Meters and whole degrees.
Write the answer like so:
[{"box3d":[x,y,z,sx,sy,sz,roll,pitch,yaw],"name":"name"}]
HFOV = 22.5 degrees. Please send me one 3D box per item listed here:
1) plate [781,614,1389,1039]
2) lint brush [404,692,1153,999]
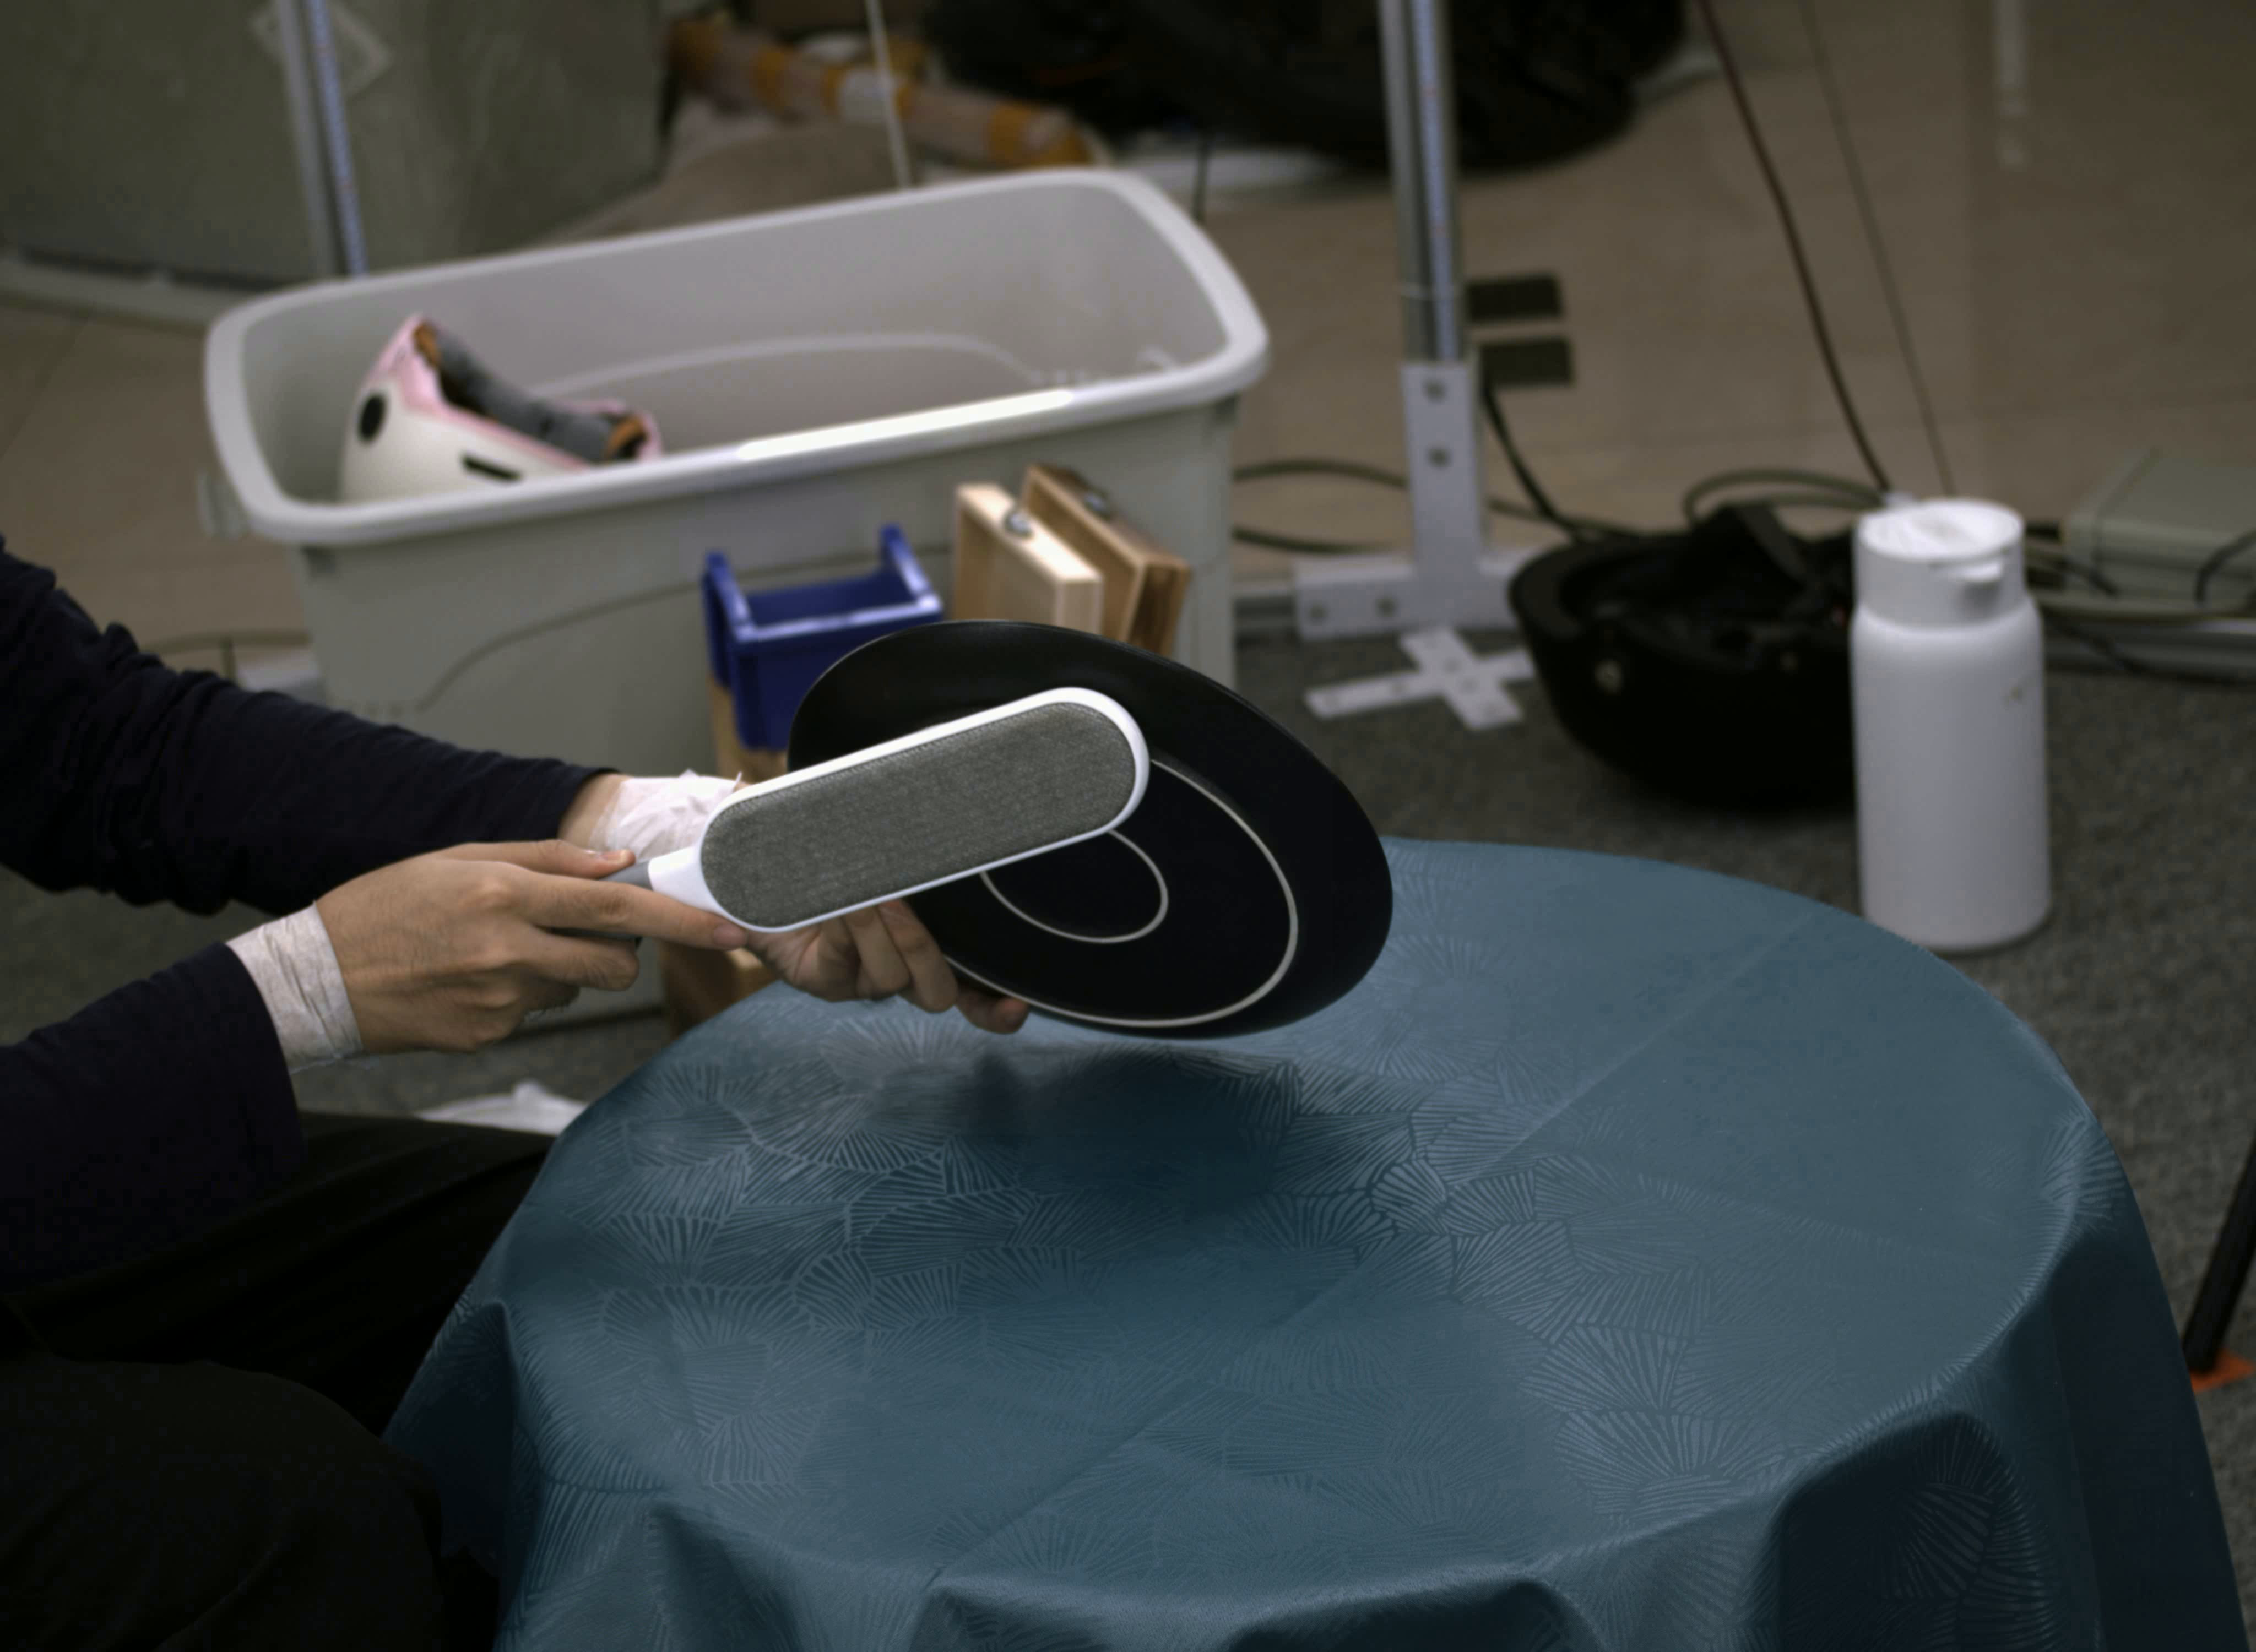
[{"box3d":[-0.020,0.010,2.161,0.243,0.249,0.023,4,51,22],"name":"plate"},{"box3d":[-0.134,0.012,2.114,0.309,0.061,0.020,-17,18,17],"name":"lint brush"}]
